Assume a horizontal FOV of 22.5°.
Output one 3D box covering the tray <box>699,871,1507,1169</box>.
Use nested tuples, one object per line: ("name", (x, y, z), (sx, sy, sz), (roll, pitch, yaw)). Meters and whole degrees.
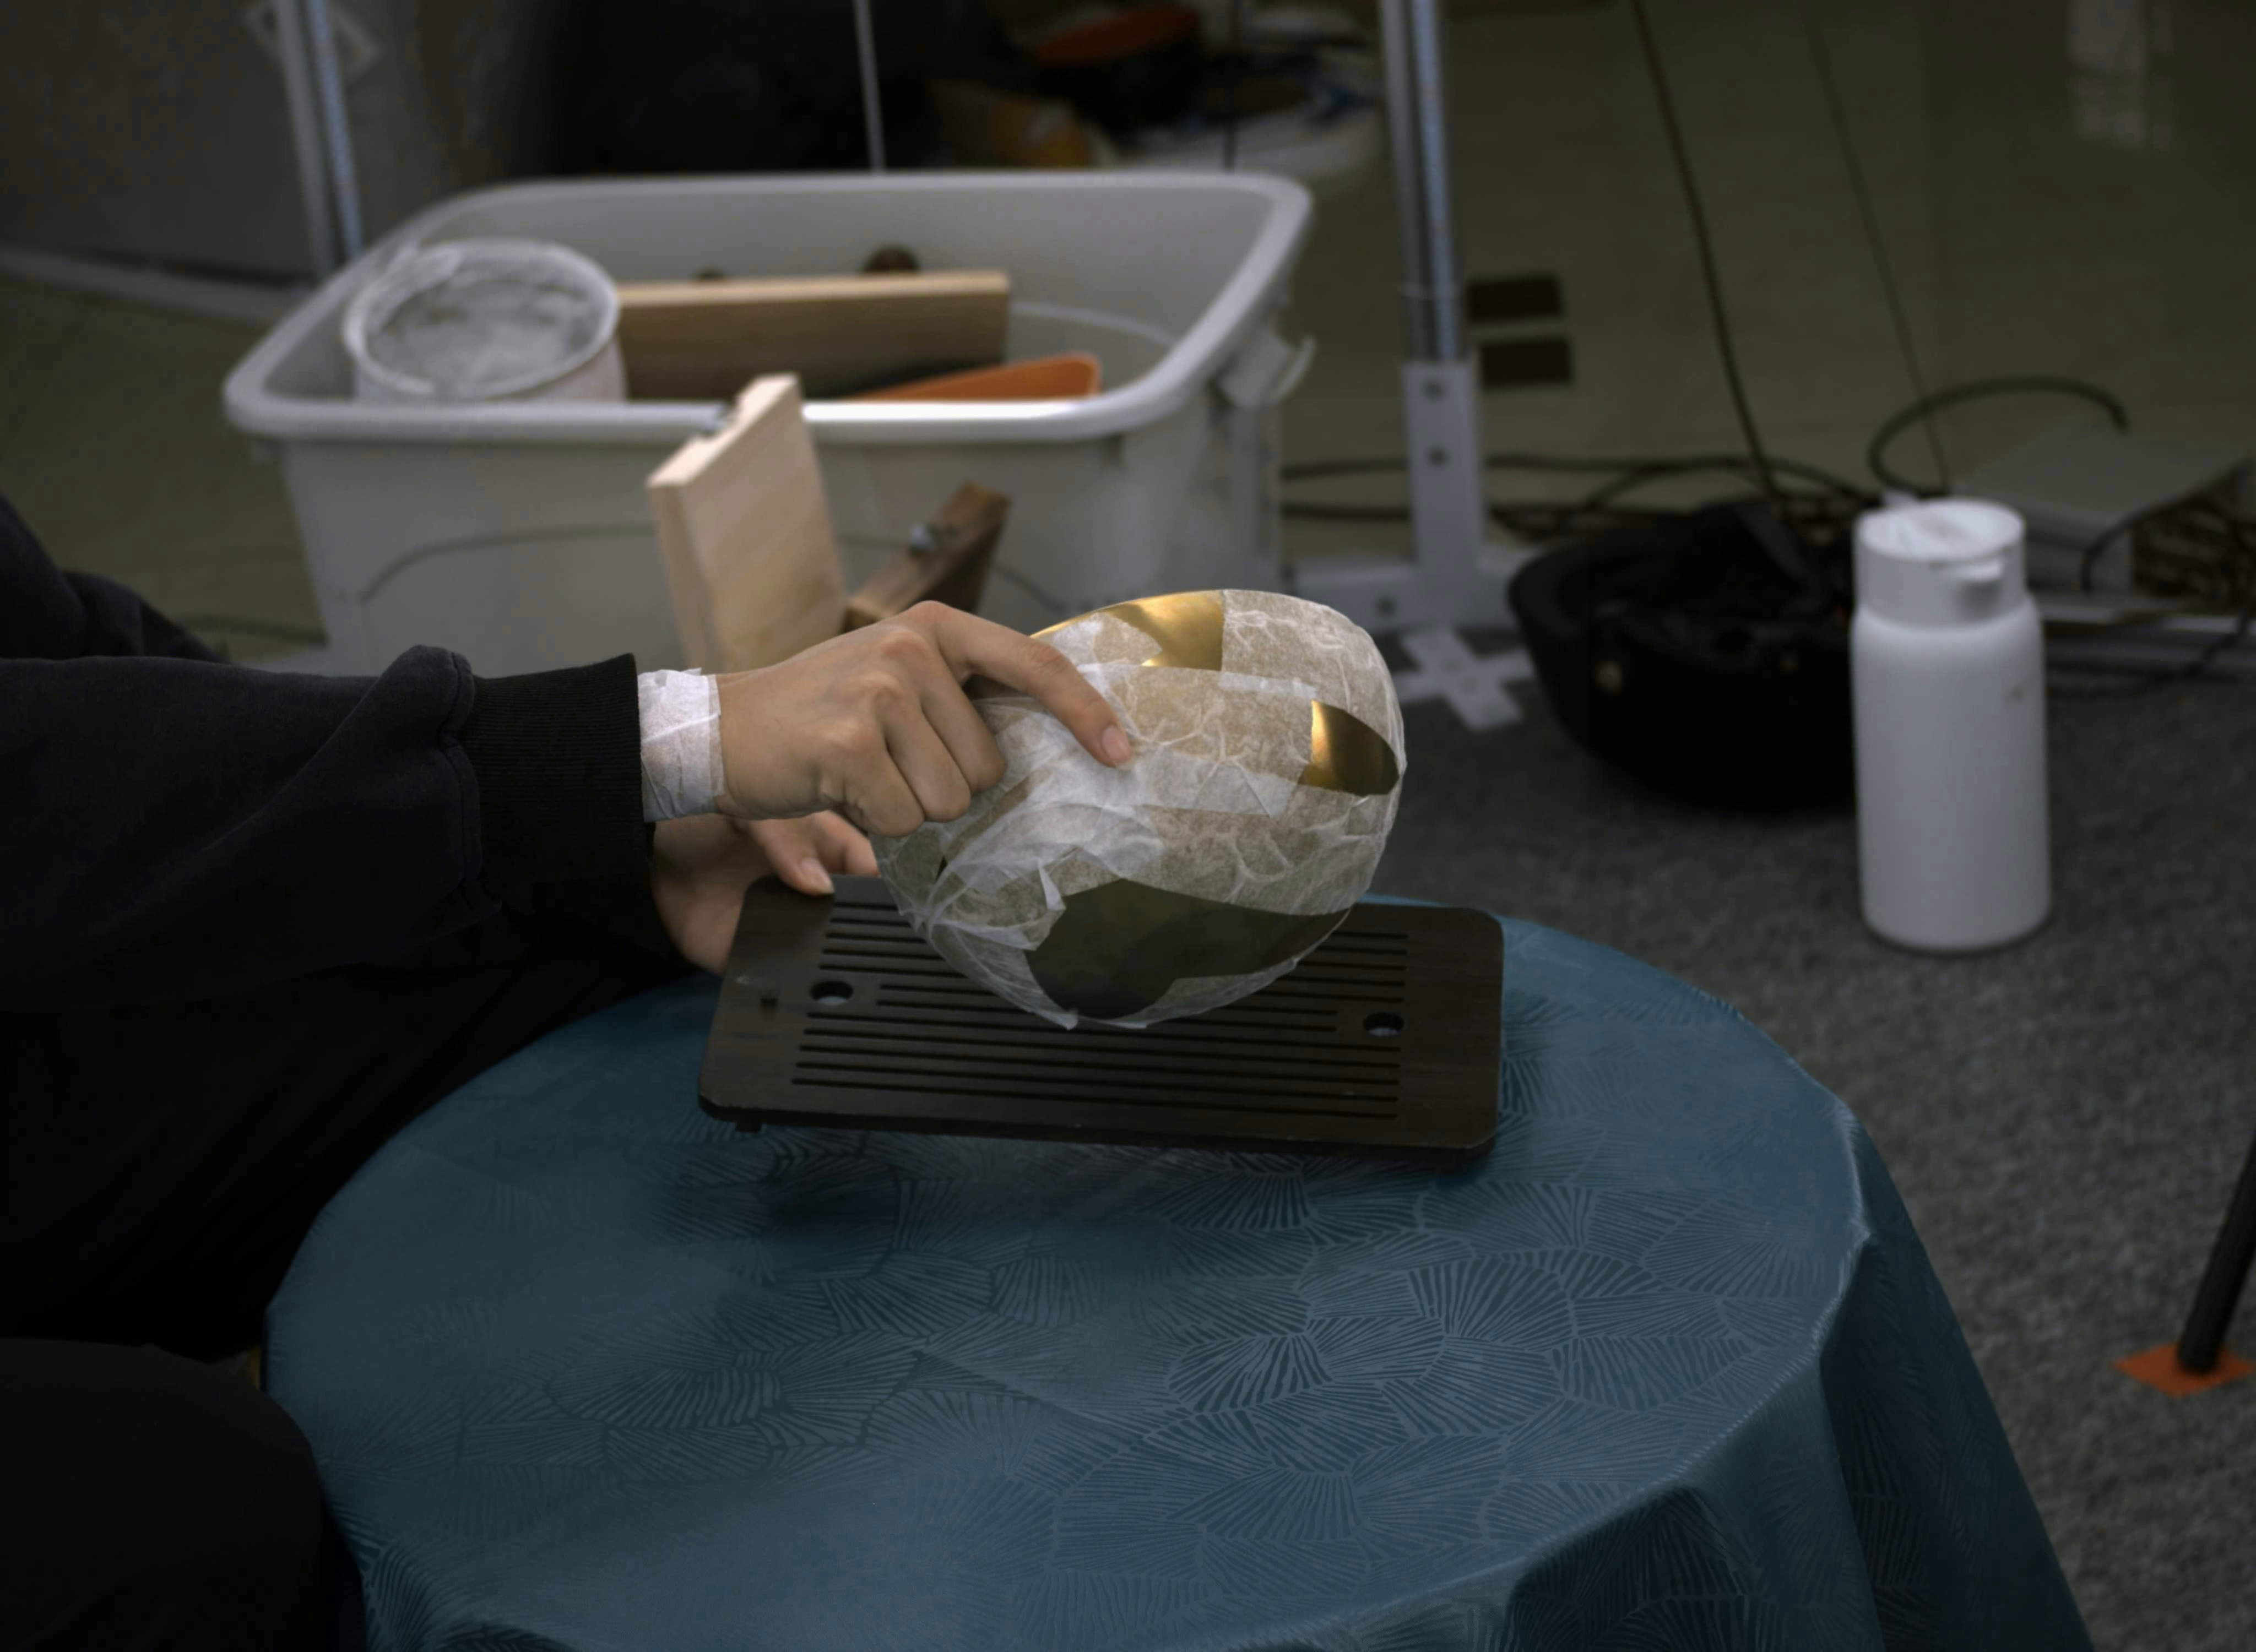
("tray", (-0.007, 0.076, 2.209), (0.305, 0.019, 0.167), (3, 32, 3))

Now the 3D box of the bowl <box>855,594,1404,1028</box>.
("bowl", (0.009, 0.014, 2.065), (0.214, 0.218, 0.093), (-11, 59, -11))
